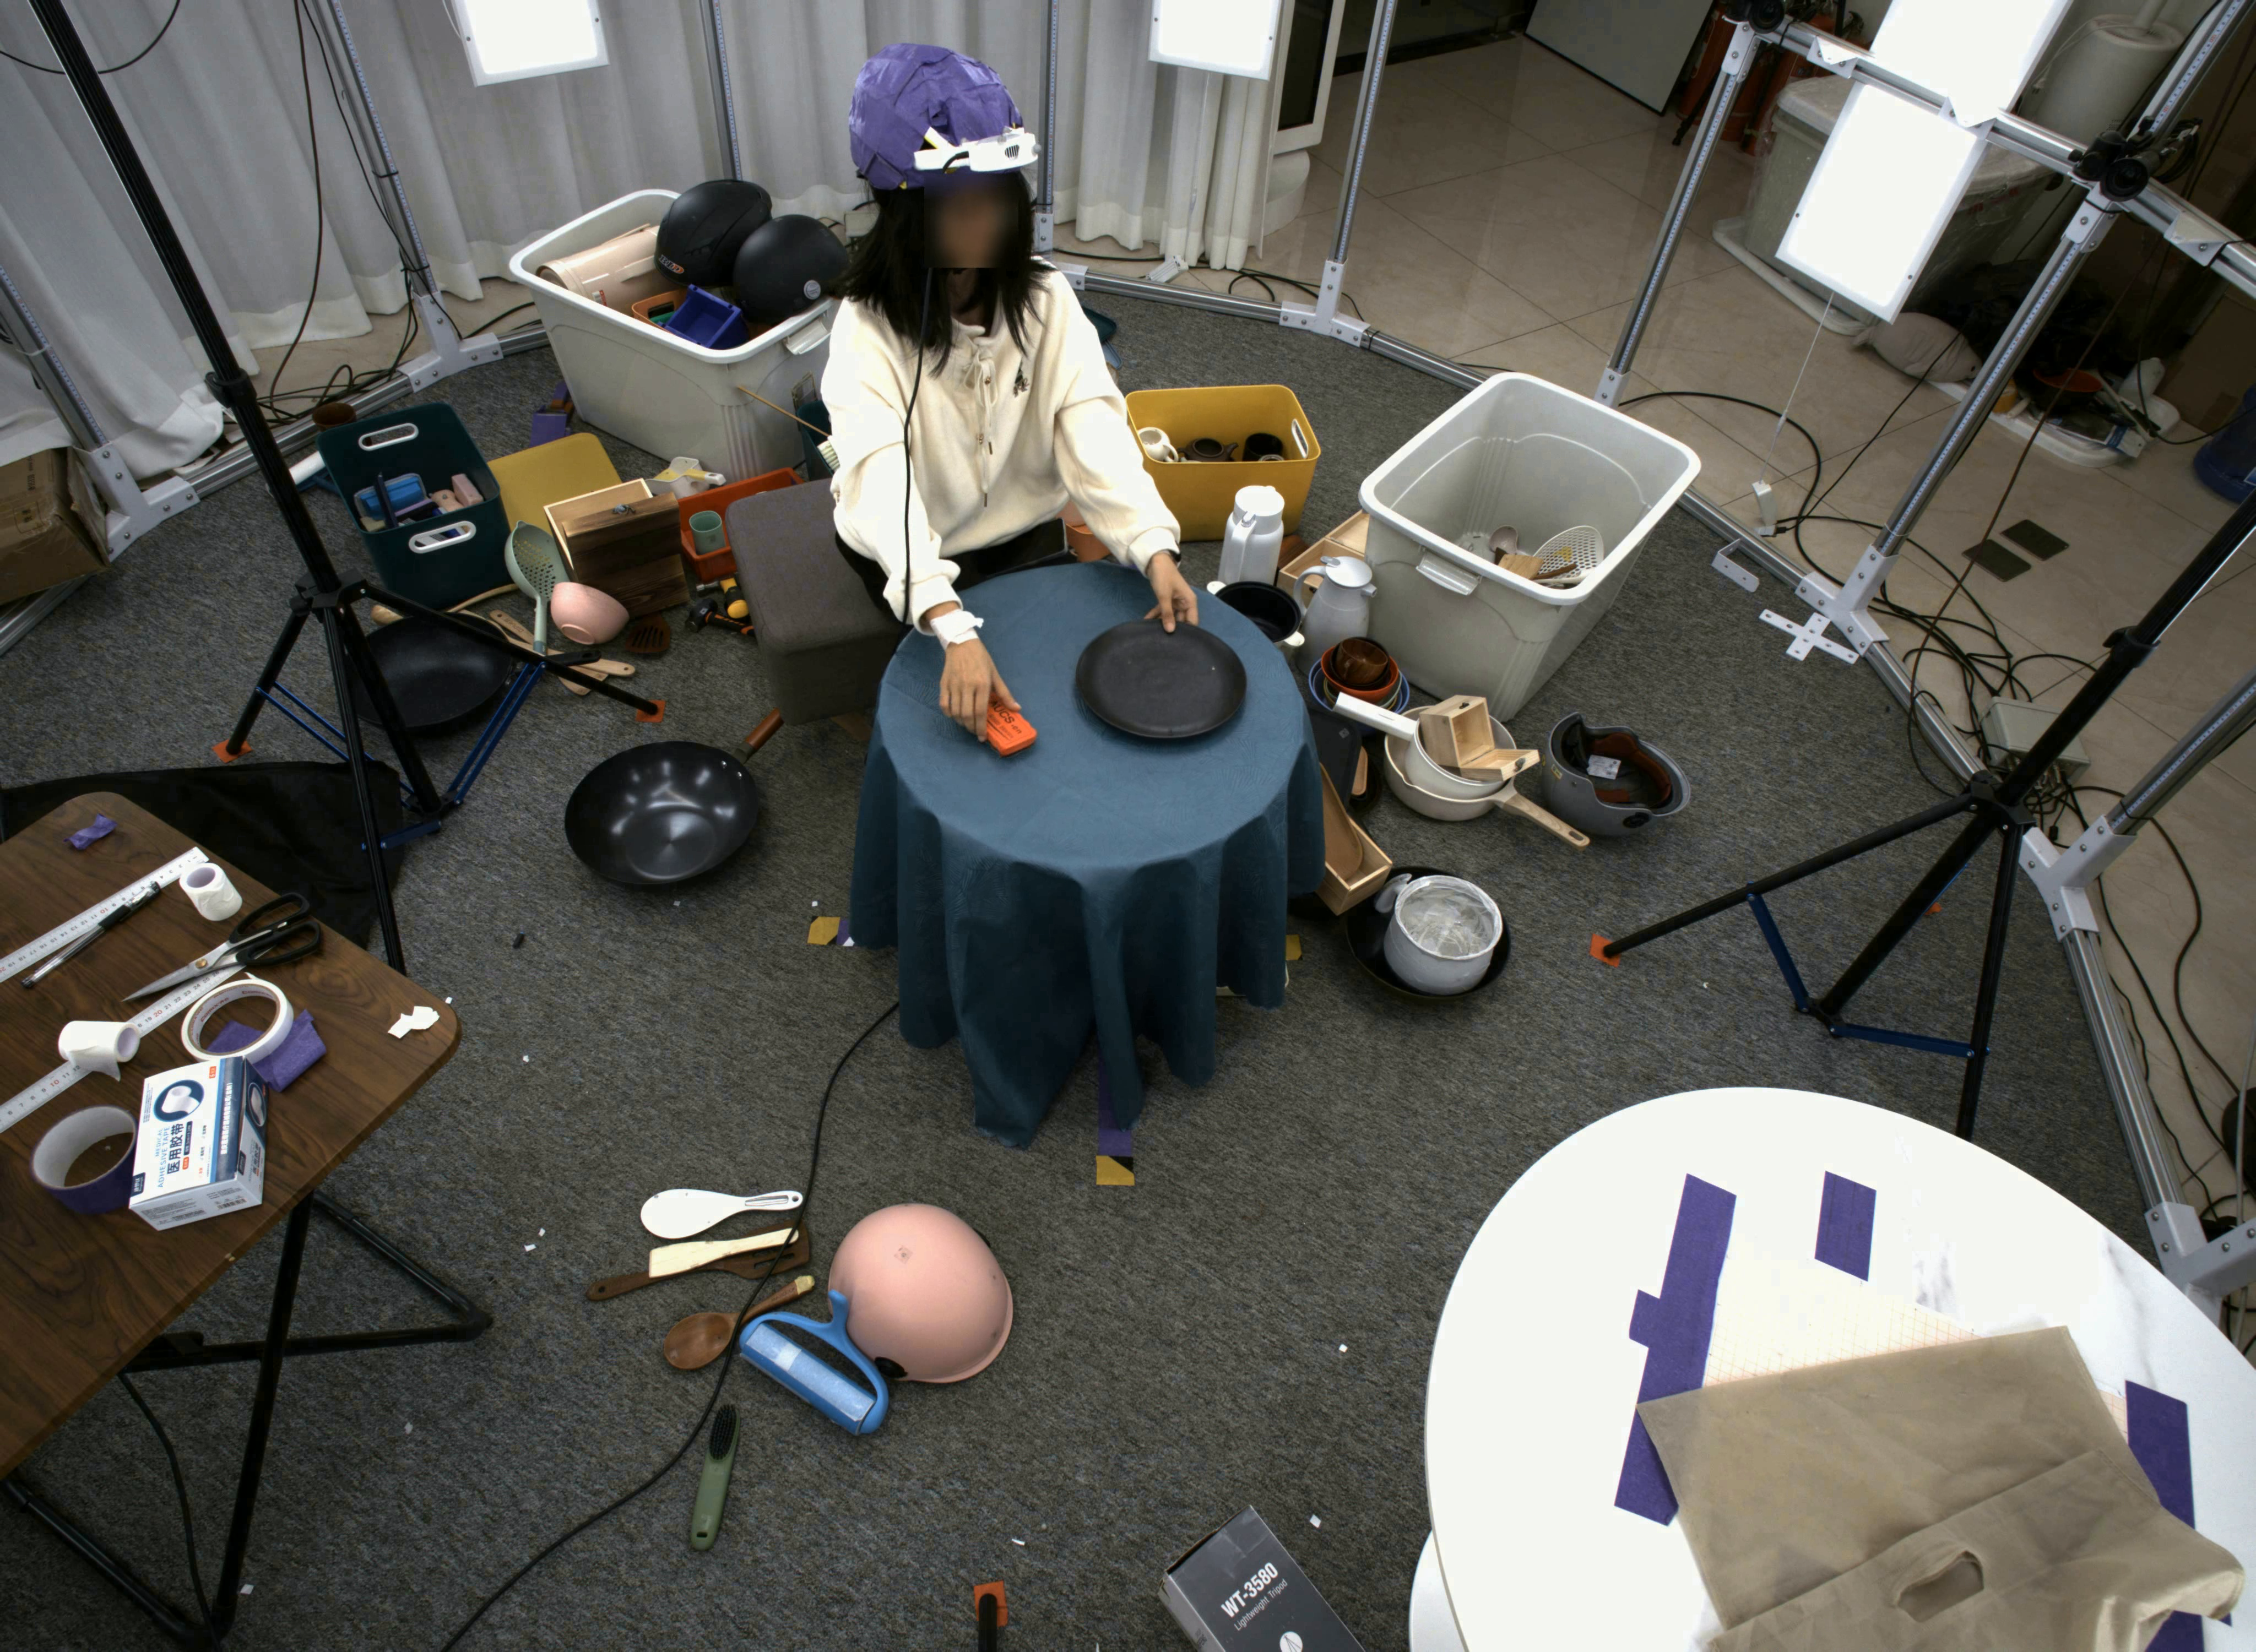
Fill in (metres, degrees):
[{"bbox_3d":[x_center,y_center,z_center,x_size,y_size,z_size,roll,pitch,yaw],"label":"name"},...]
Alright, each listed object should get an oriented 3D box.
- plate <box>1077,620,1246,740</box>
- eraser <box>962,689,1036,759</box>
[{"bbox_3d":[0.048,-0.208,1.838,0.244,0.023,0.250,2,49,-2],"label":"plate"},{"bbox_3d":[-0.177,-0.141,1.760,0.059,0.022,0.110,-26,58,-27],"label":"eraser"}]
